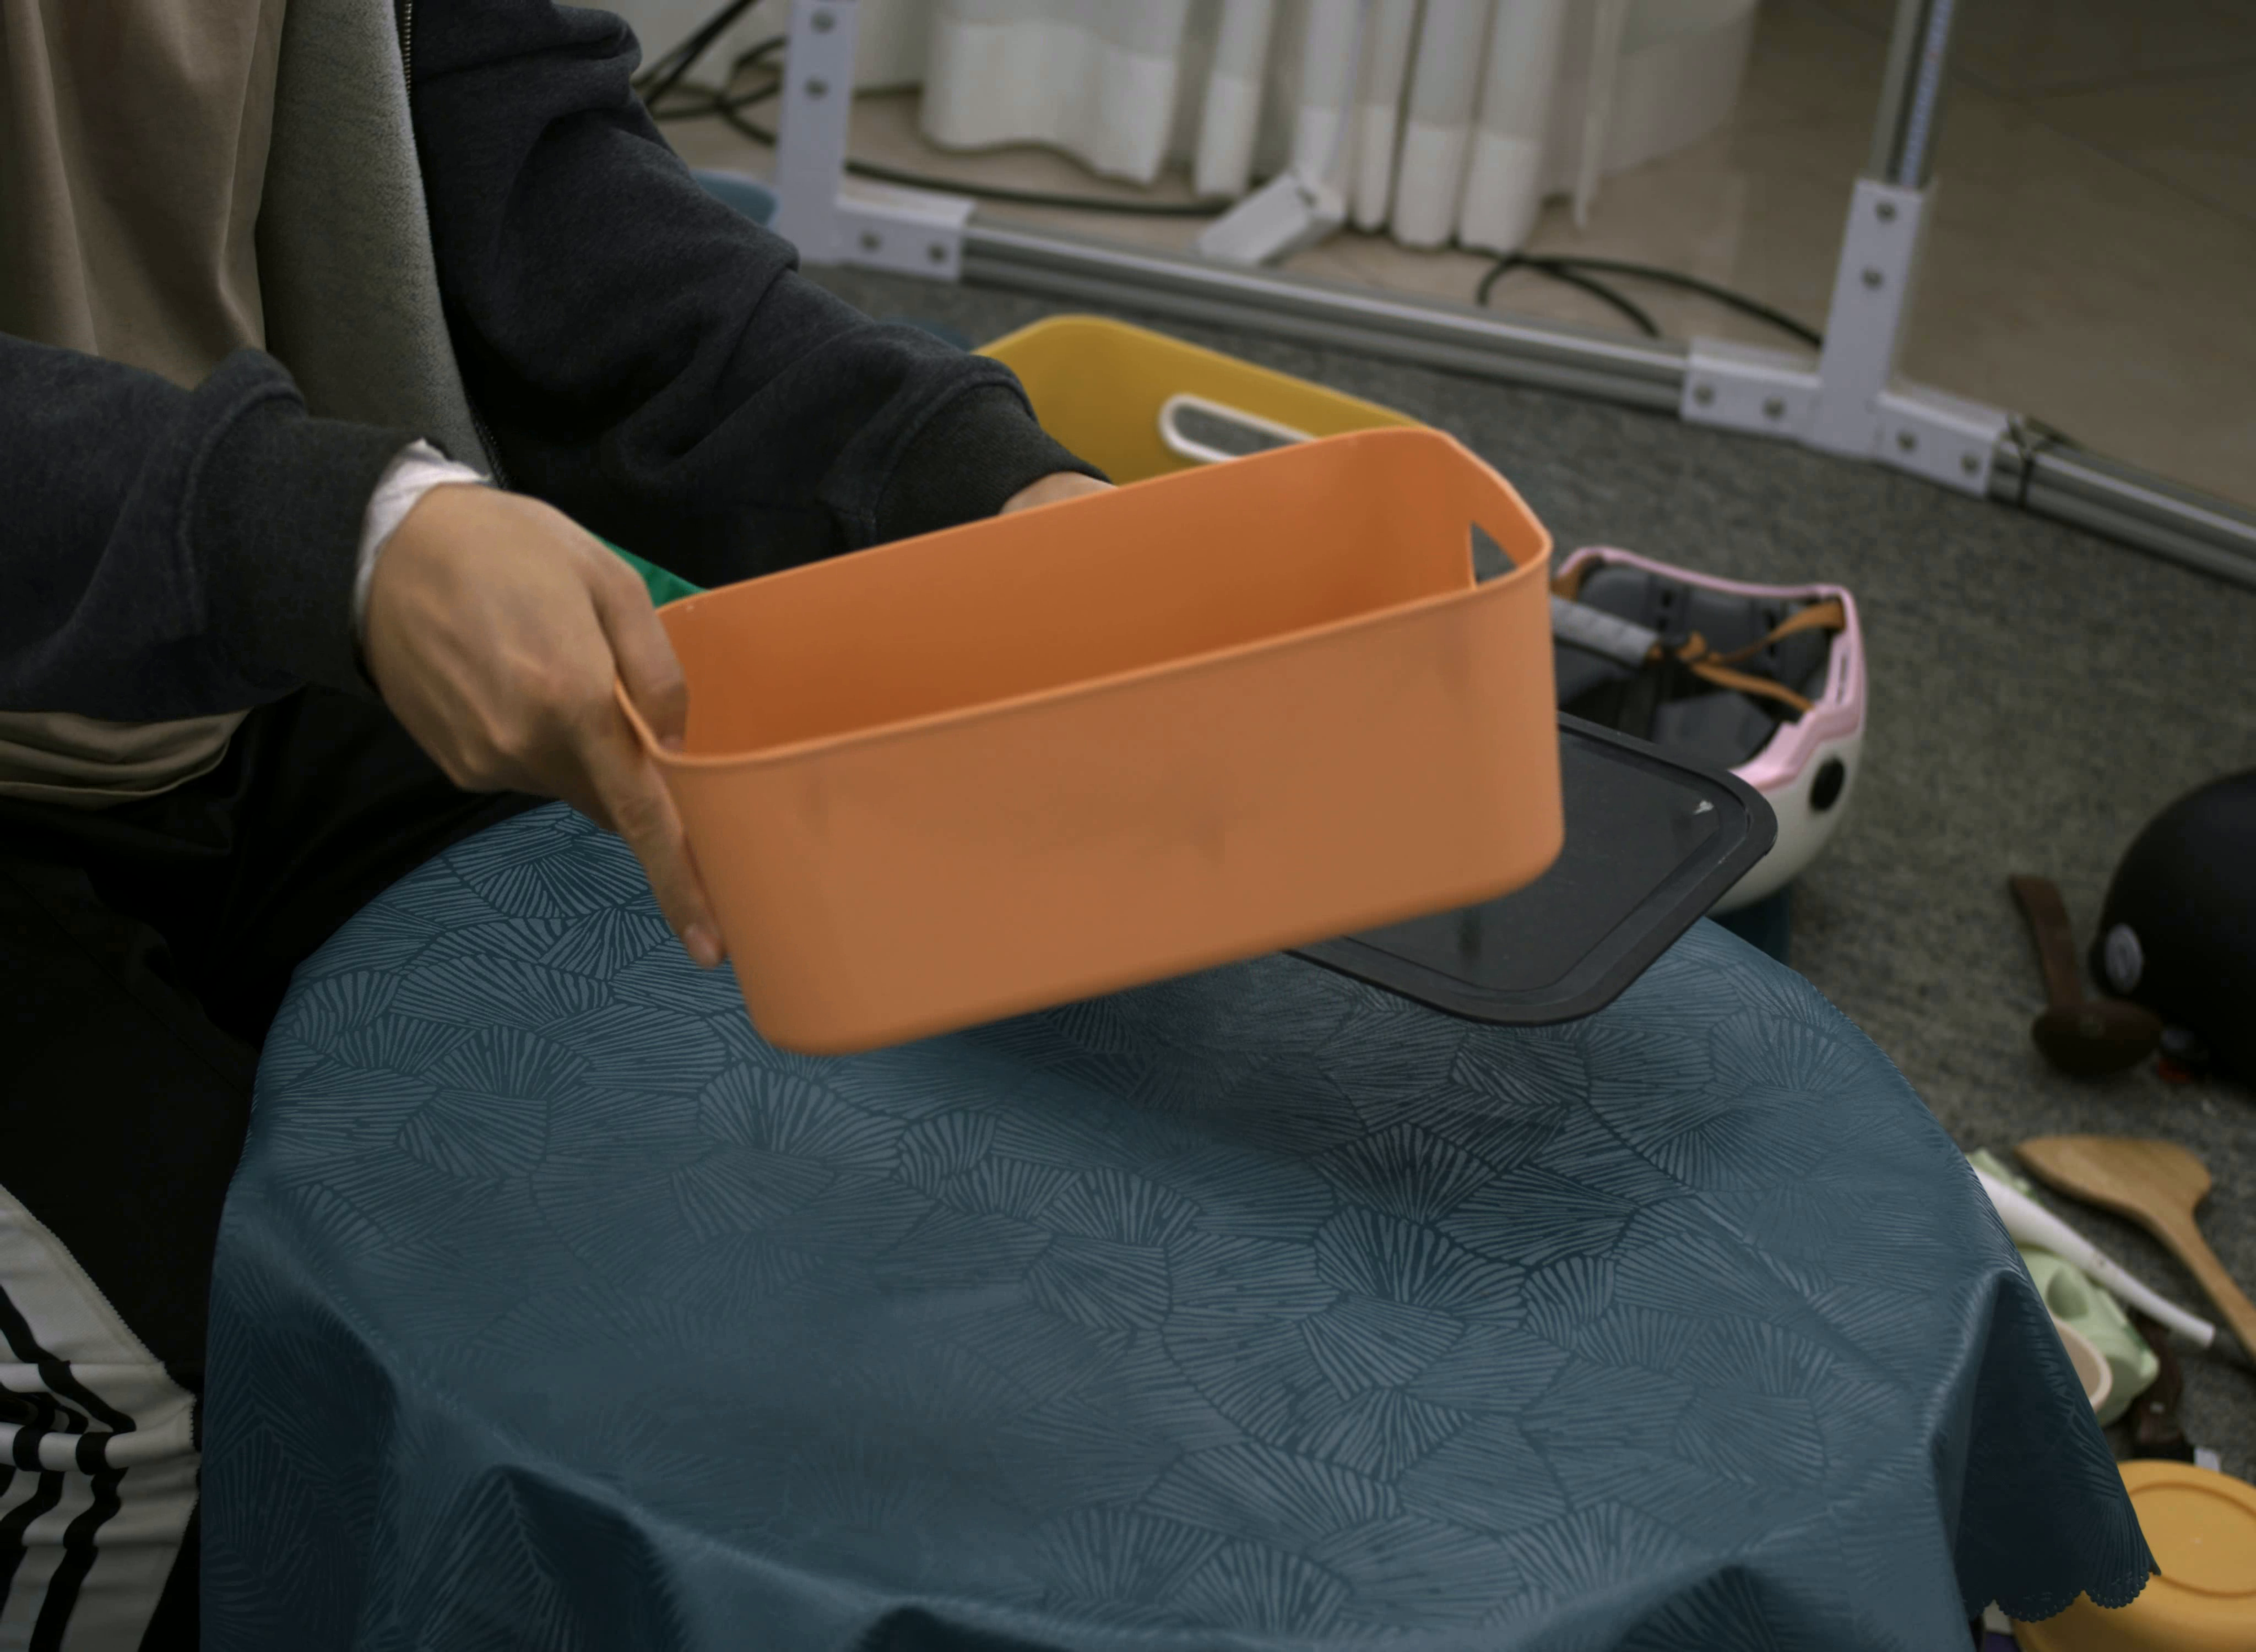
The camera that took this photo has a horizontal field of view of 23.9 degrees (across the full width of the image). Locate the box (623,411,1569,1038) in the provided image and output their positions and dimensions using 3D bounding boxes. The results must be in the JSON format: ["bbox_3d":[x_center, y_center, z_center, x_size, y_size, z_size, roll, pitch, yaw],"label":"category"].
[{"bbox_3d":[-0.007,-0.031,1.590,0.272,0.102,0.200,-13,19,-5],"label":"box"}]

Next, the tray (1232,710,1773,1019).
[{"bbox_3d":[0.056,-0.018,1.909,0.327,0.010,0.211,20,33,25],"label":"tray"}]
